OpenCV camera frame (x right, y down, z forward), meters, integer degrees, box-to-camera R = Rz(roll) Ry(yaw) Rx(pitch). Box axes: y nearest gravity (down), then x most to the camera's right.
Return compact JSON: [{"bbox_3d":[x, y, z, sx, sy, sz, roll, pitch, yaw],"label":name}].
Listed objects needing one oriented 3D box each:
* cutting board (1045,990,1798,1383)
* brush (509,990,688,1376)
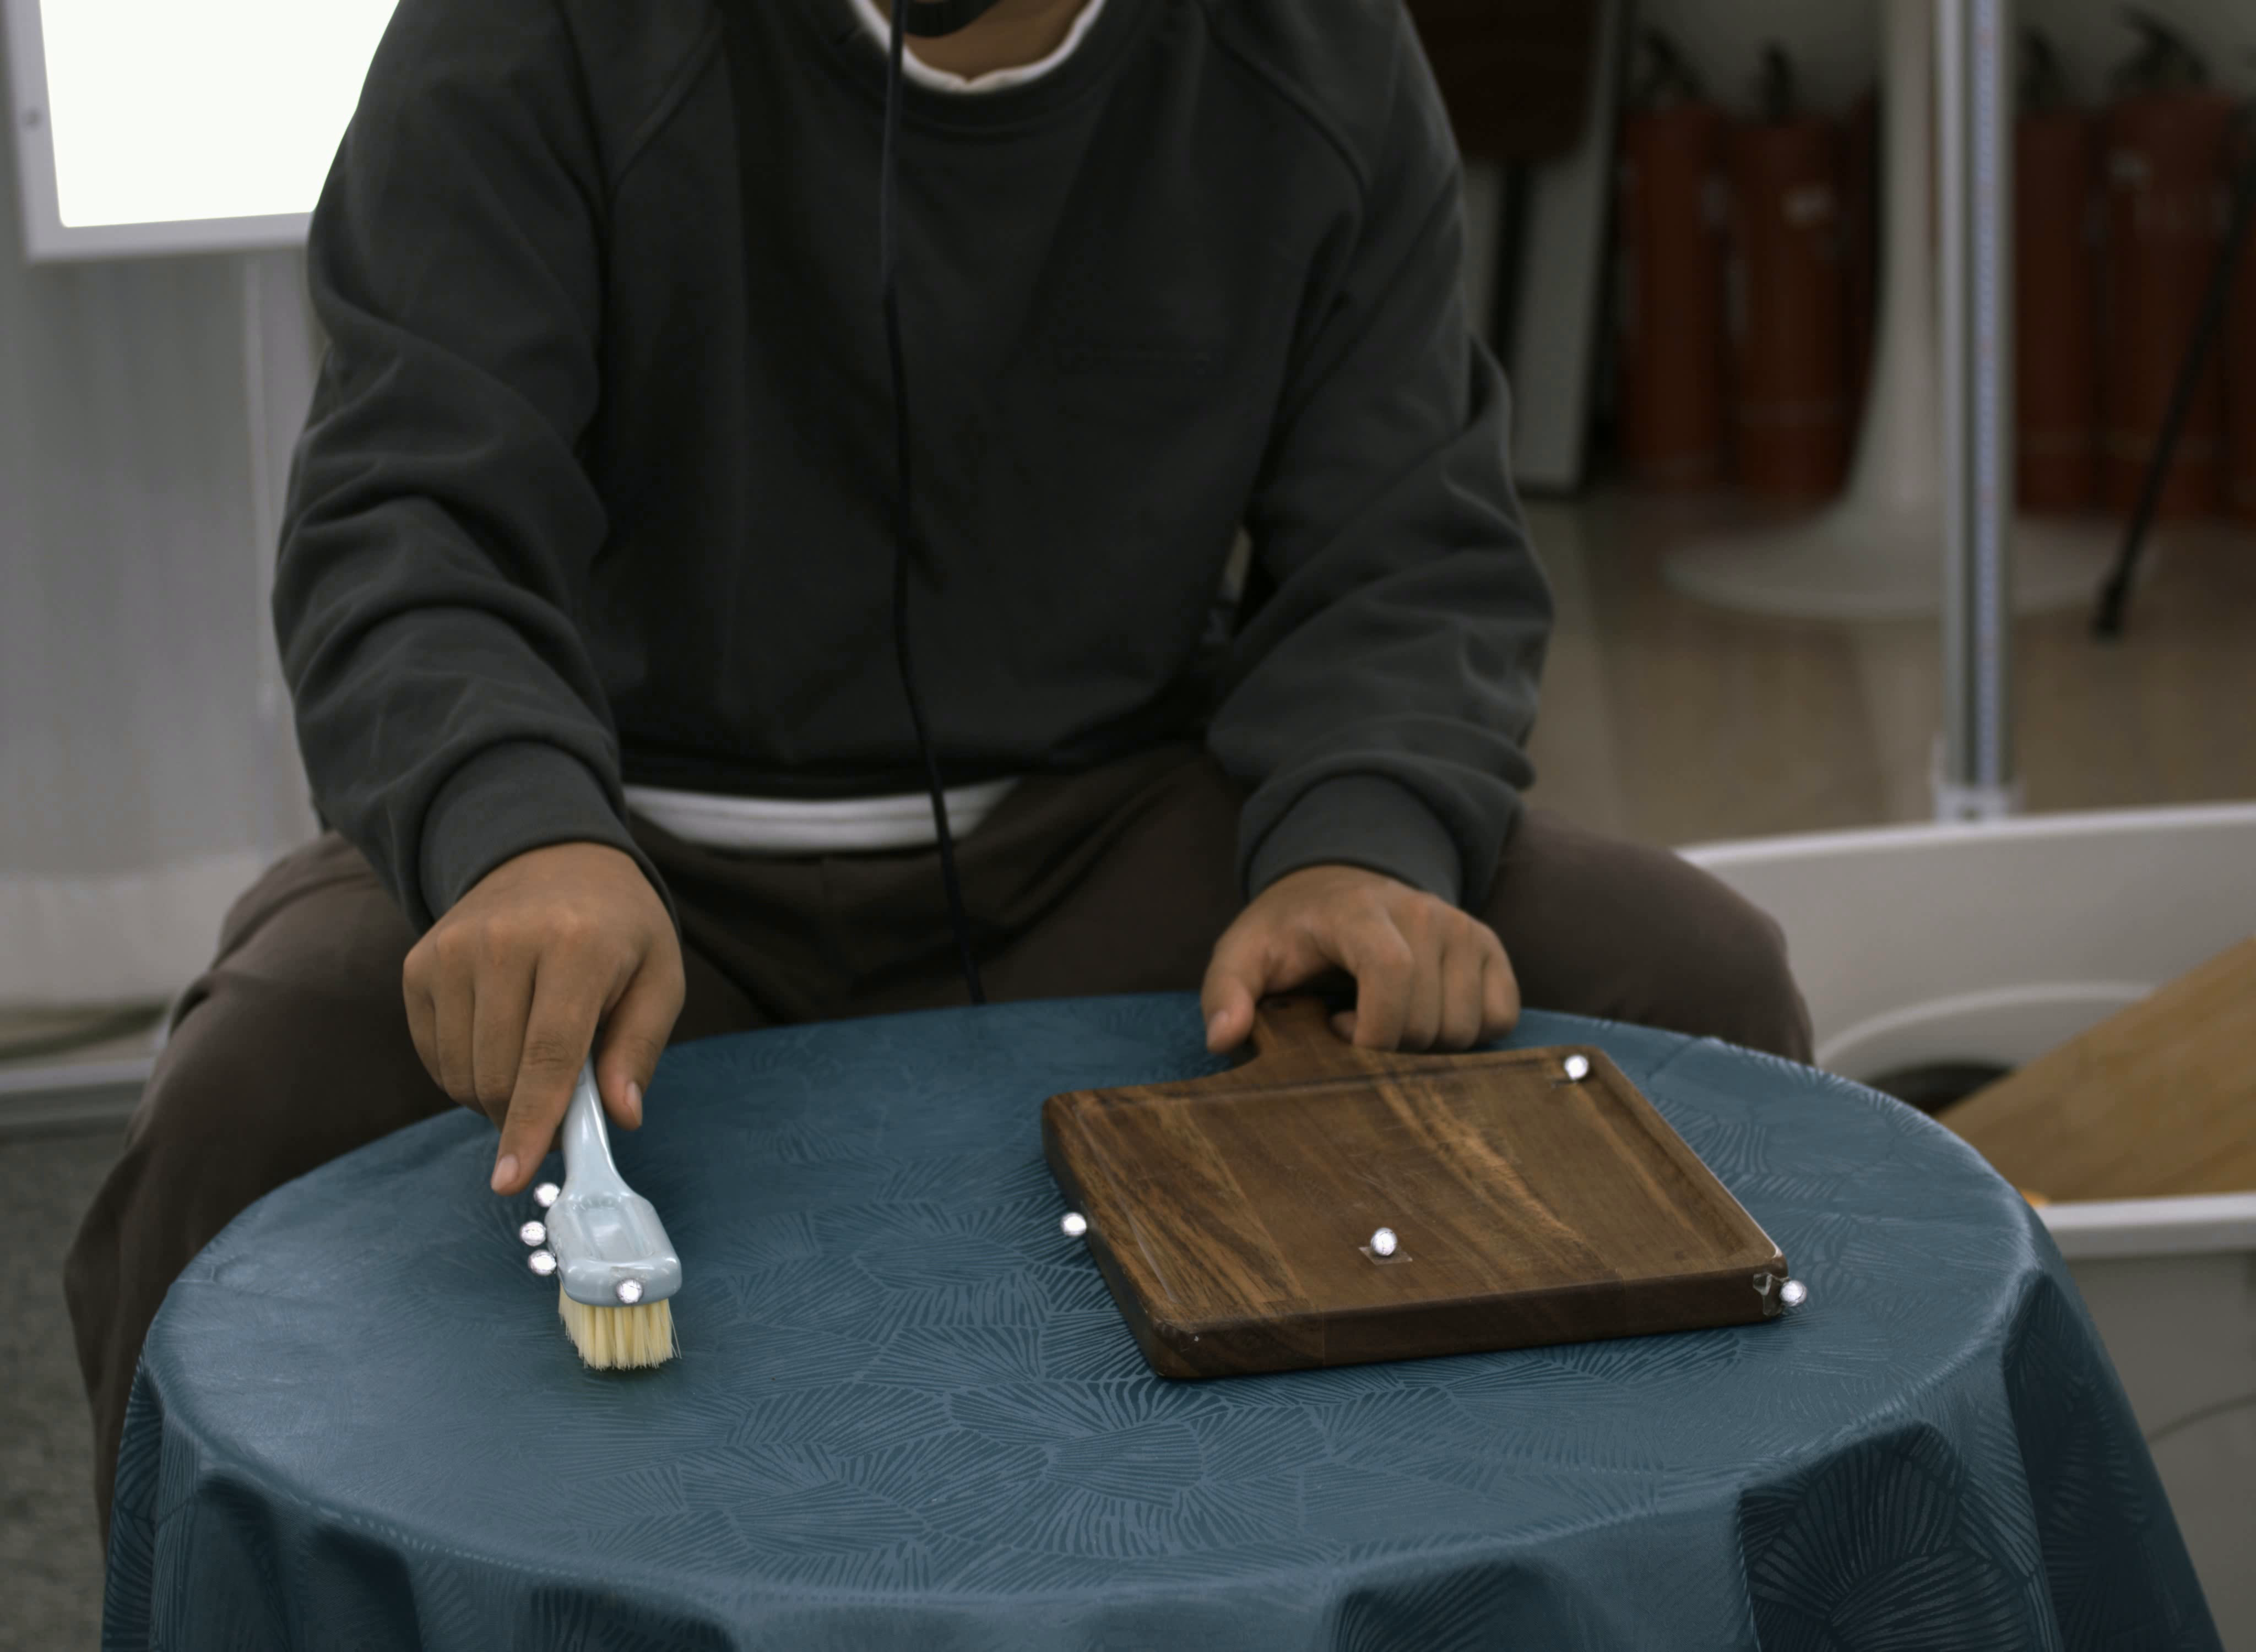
[{"bbox_3d":[0.080,0.108,1.762,0.198,0.023,0.354,-5,14,-7],"label":"cutting board"},{"bbox_3d":[-0.173,0.111,1.720,0.037,0.050,0.231,-6,25,-13],"label":"brush"}]
